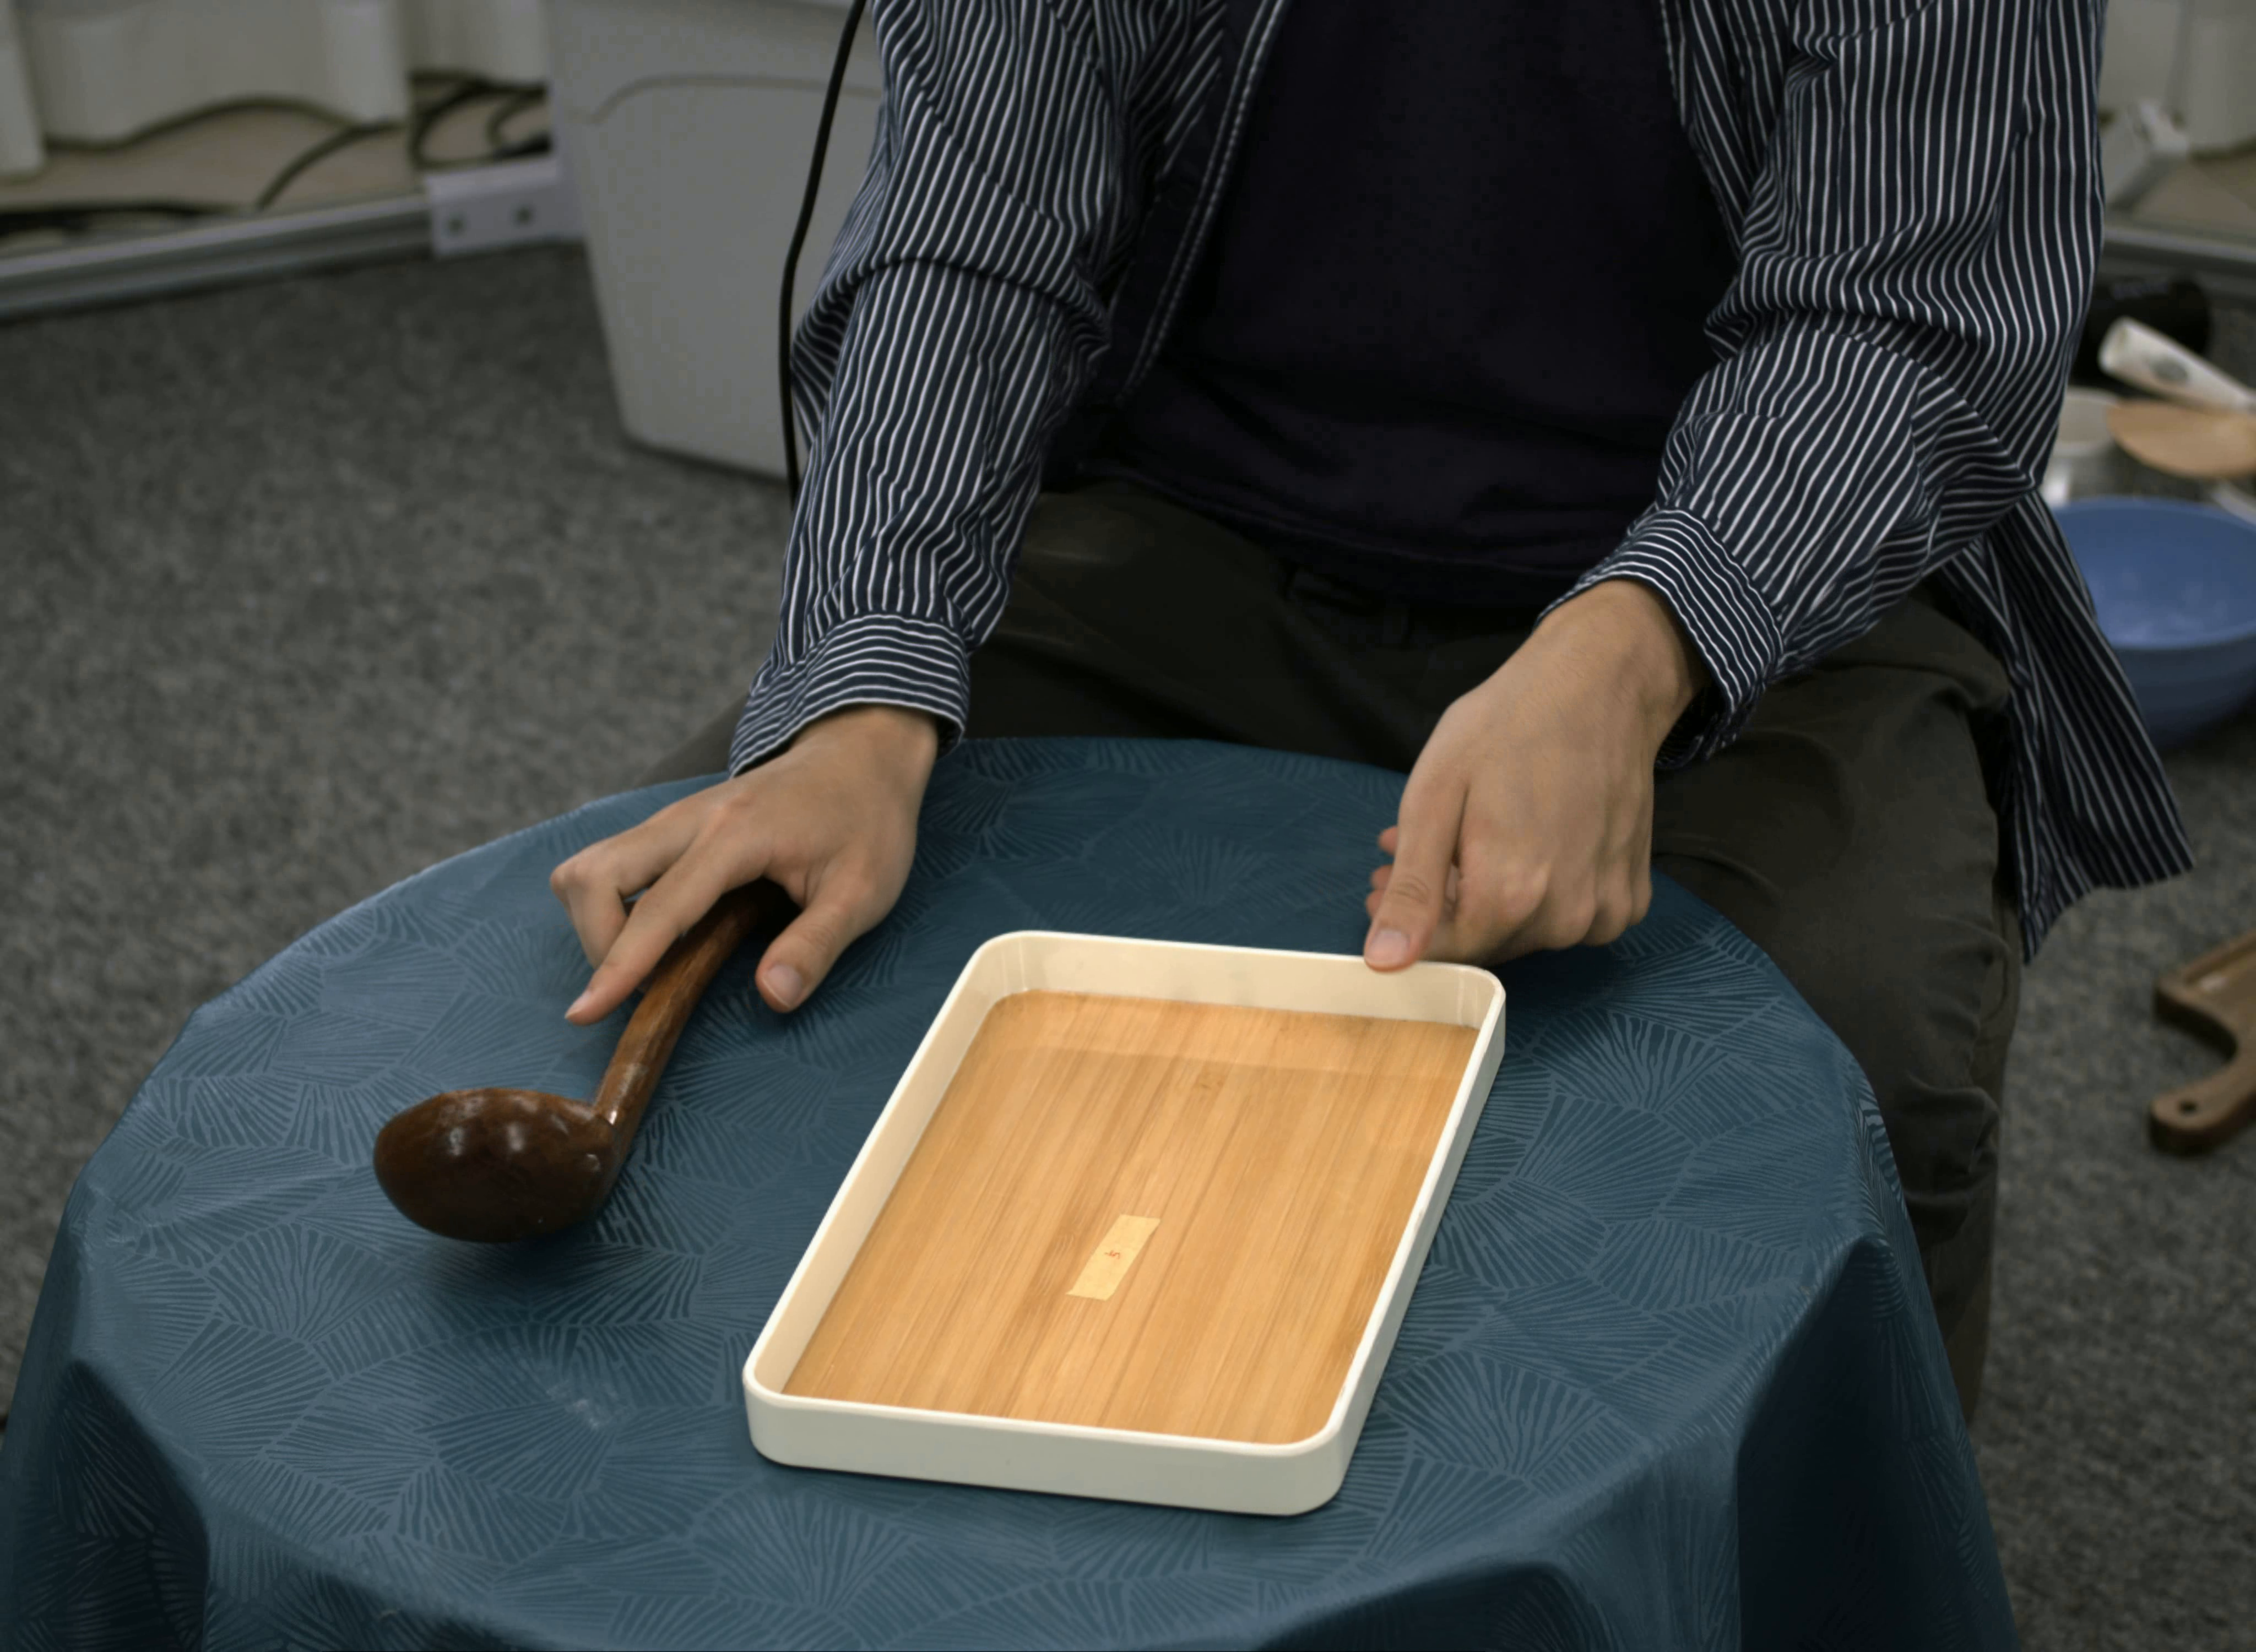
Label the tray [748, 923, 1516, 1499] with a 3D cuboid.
[{"bbox_3d":[0.008,0.119,1.833,0.190,0.027,0.305,4,28,14],"label":"tray"}]

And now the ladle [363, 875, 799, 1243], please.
[{"bbox_3d":[-0.179,0.060,1.913,0.081,0.076,0.279,-12,24,22],"label":"ladle"}]
